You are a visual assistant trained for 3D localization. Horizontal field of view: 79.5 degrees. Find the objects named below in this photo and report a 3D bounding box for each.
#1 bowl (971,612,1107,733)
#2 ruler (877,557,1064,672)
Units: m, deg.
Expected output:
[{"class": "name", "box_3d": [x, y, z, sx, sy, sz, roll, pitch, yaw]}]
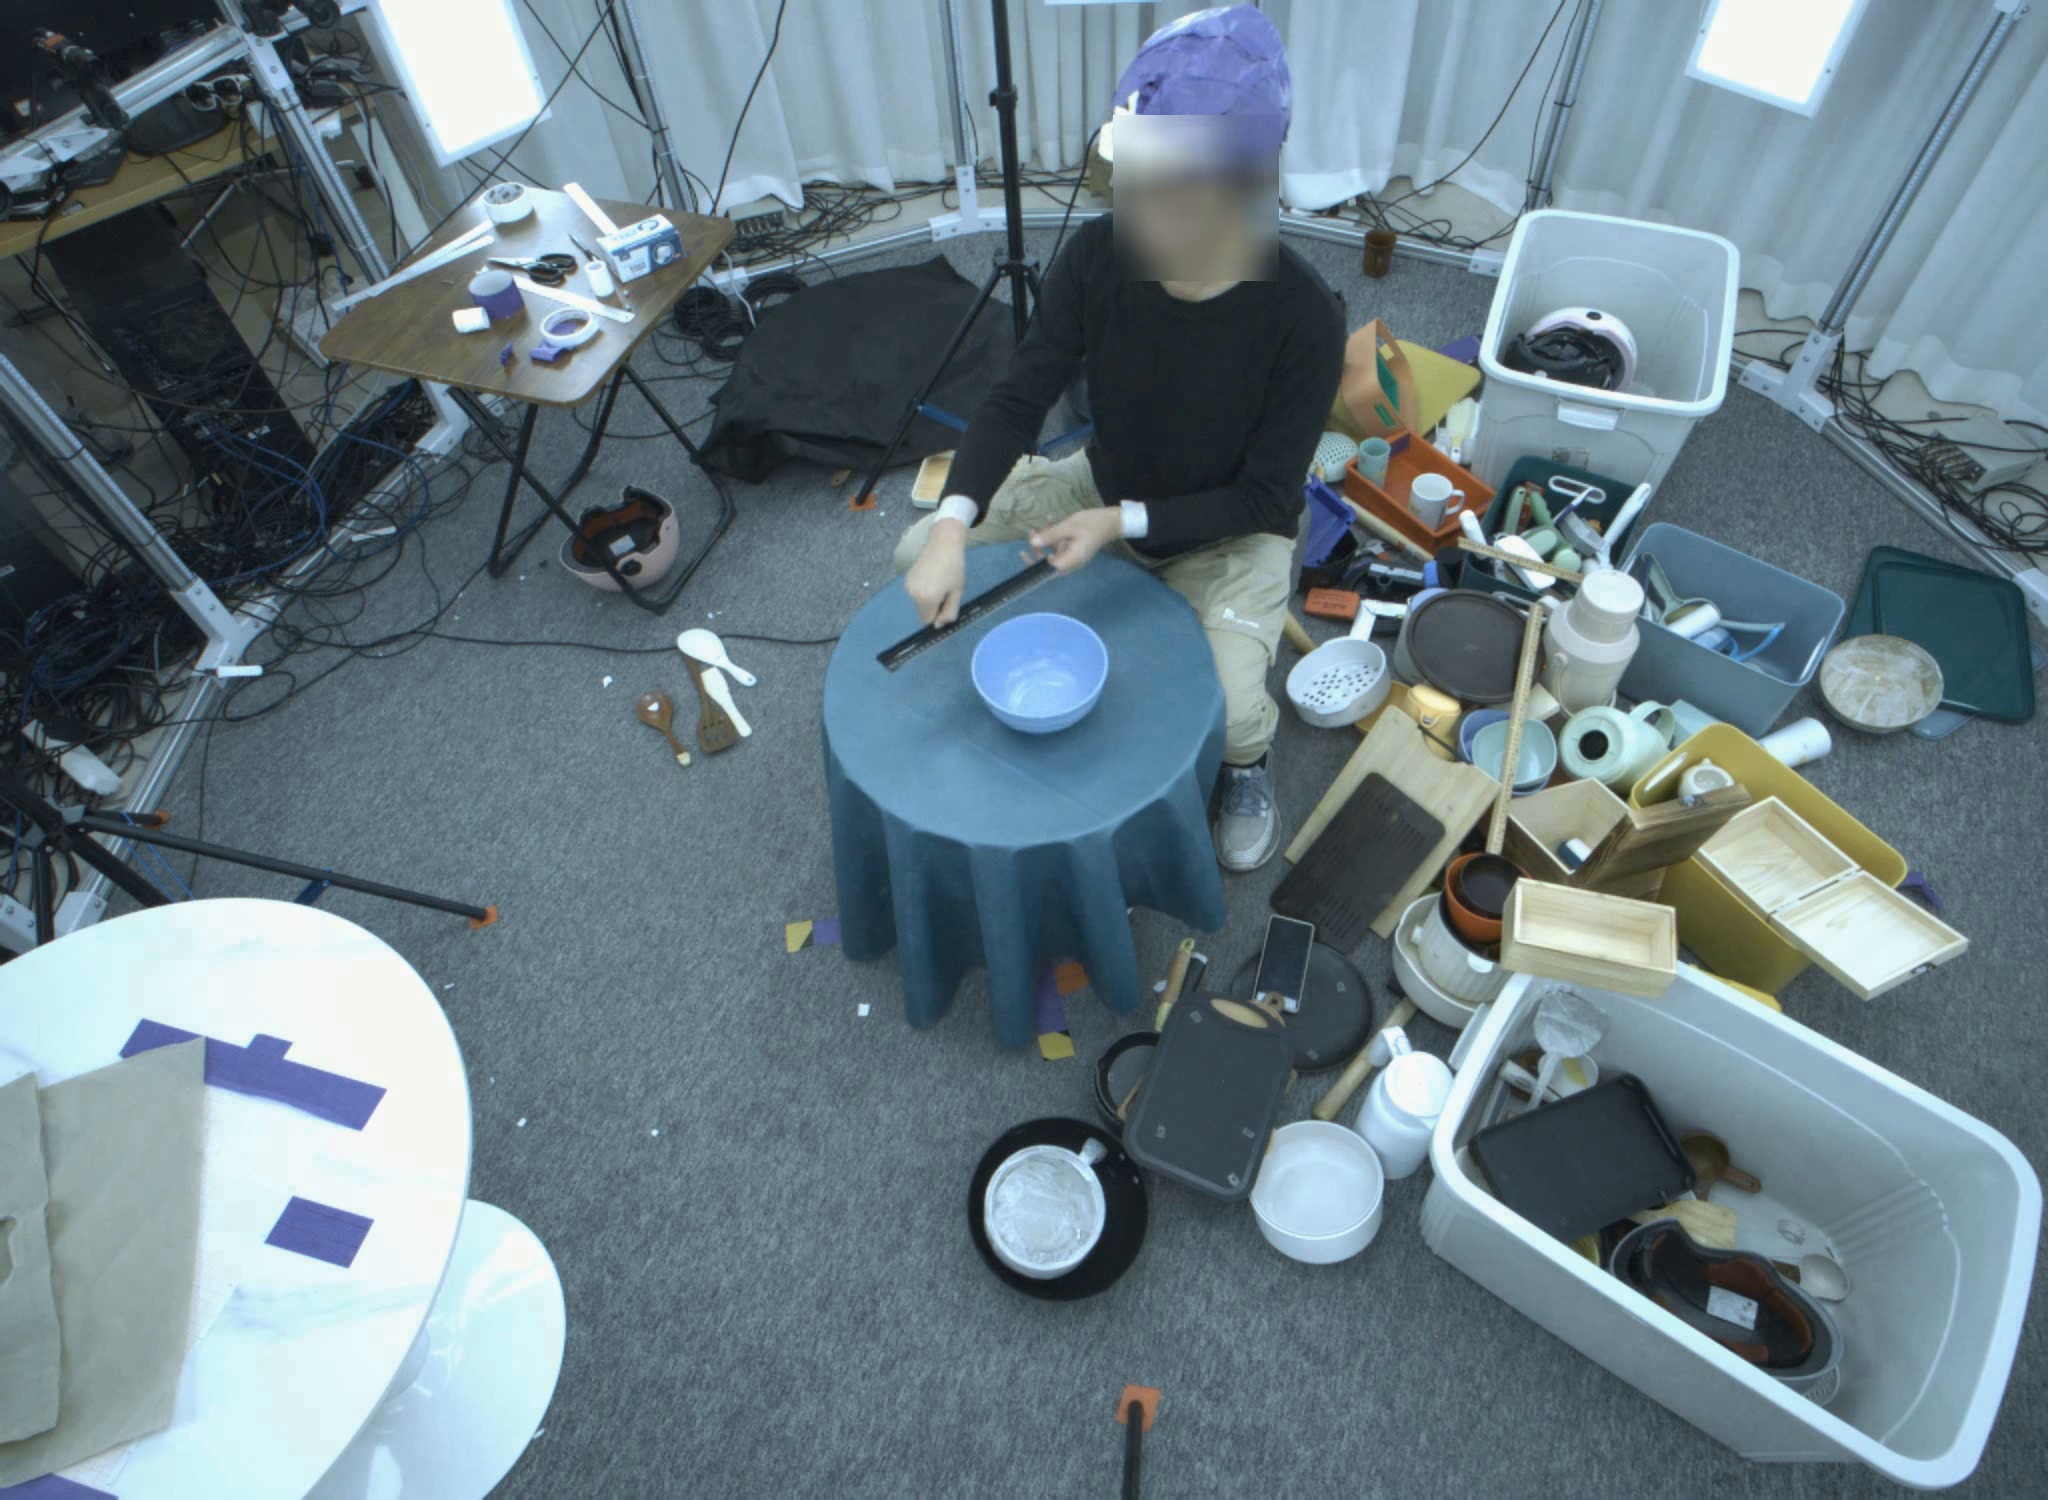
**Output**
[{"class": "bowl", "box_3d": [0.024, -0.098, 1.798, 0.196, 0.096, 0.194, -1, 56, 2]}, {"class": "ruler", "box_3d": [-0.075, -0.199, 1.768, 0.315, 0.017, 0.038, -32, 57, -22]}]
